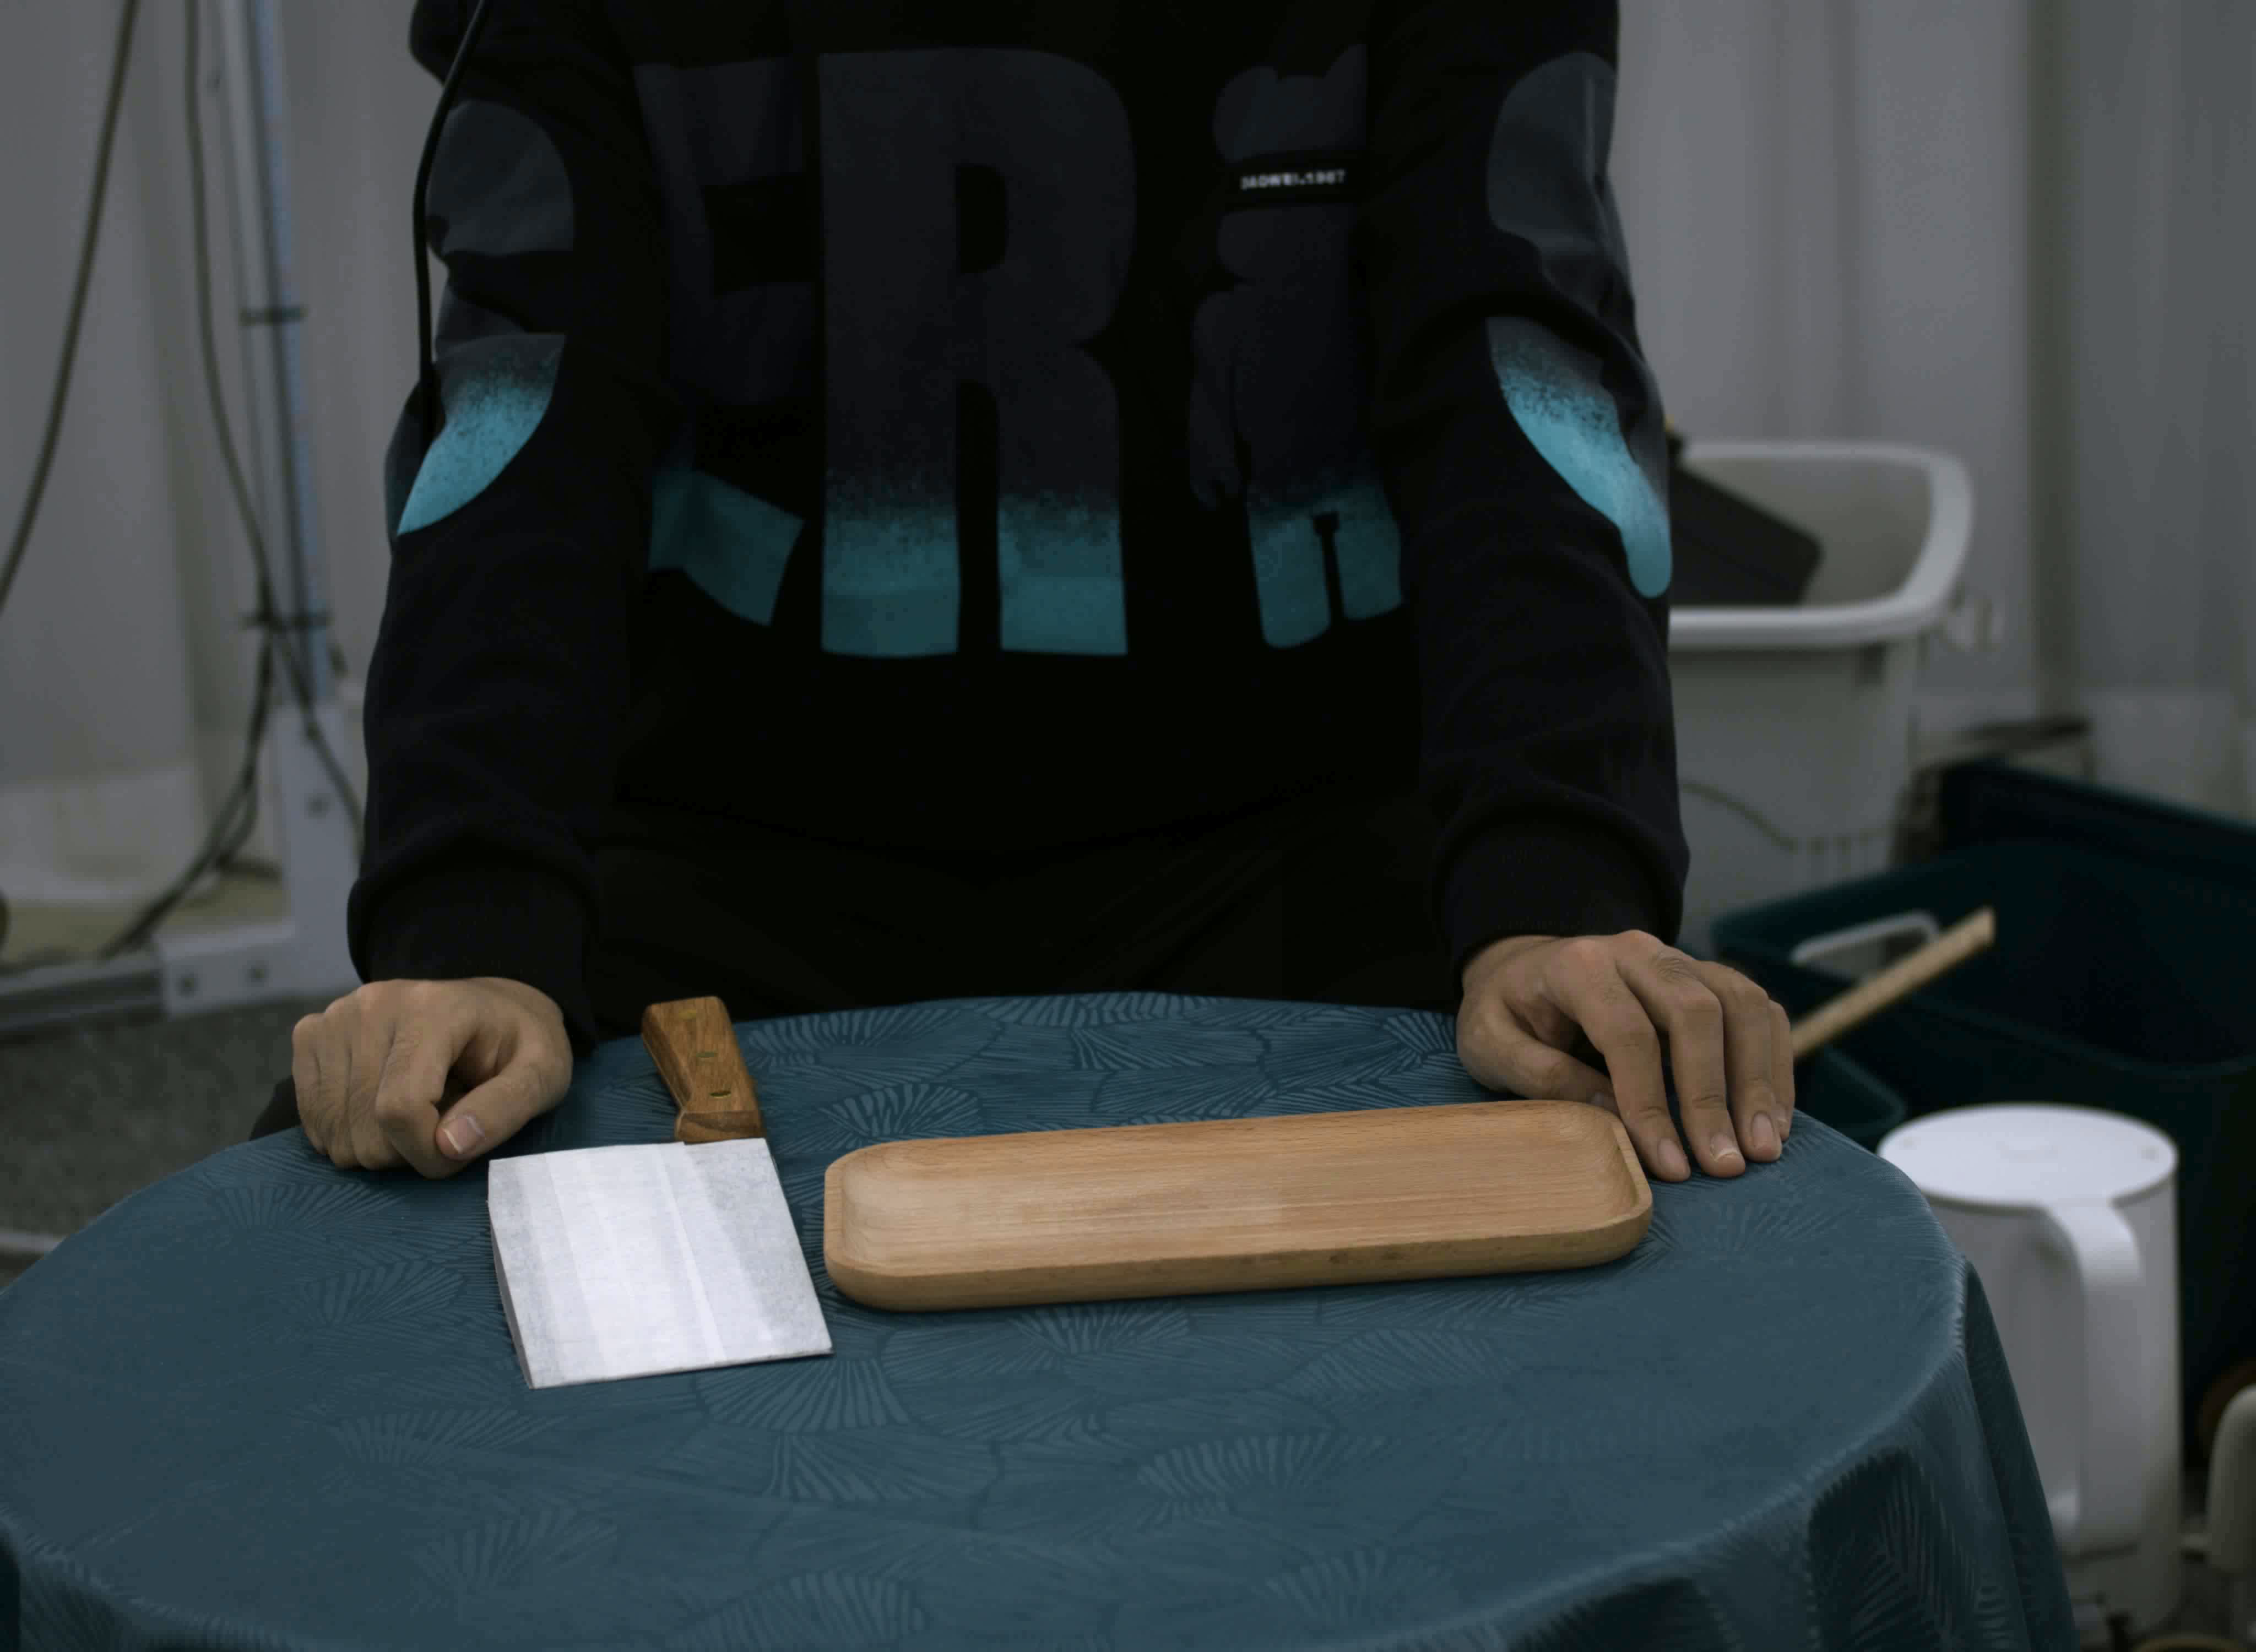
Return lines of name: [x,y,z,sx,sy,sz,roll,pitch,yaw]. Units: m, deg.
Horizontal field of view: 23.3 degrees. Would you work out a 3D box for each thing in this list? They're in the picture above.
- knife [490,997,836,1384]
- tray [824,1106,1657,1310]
knife: [-0.153,0.113,1.722,0.092,0.021,0.308,-7,18,-8]
tray: [0.033,0.117,1.672,0.250,0.023,0.131,-2,17,0]
